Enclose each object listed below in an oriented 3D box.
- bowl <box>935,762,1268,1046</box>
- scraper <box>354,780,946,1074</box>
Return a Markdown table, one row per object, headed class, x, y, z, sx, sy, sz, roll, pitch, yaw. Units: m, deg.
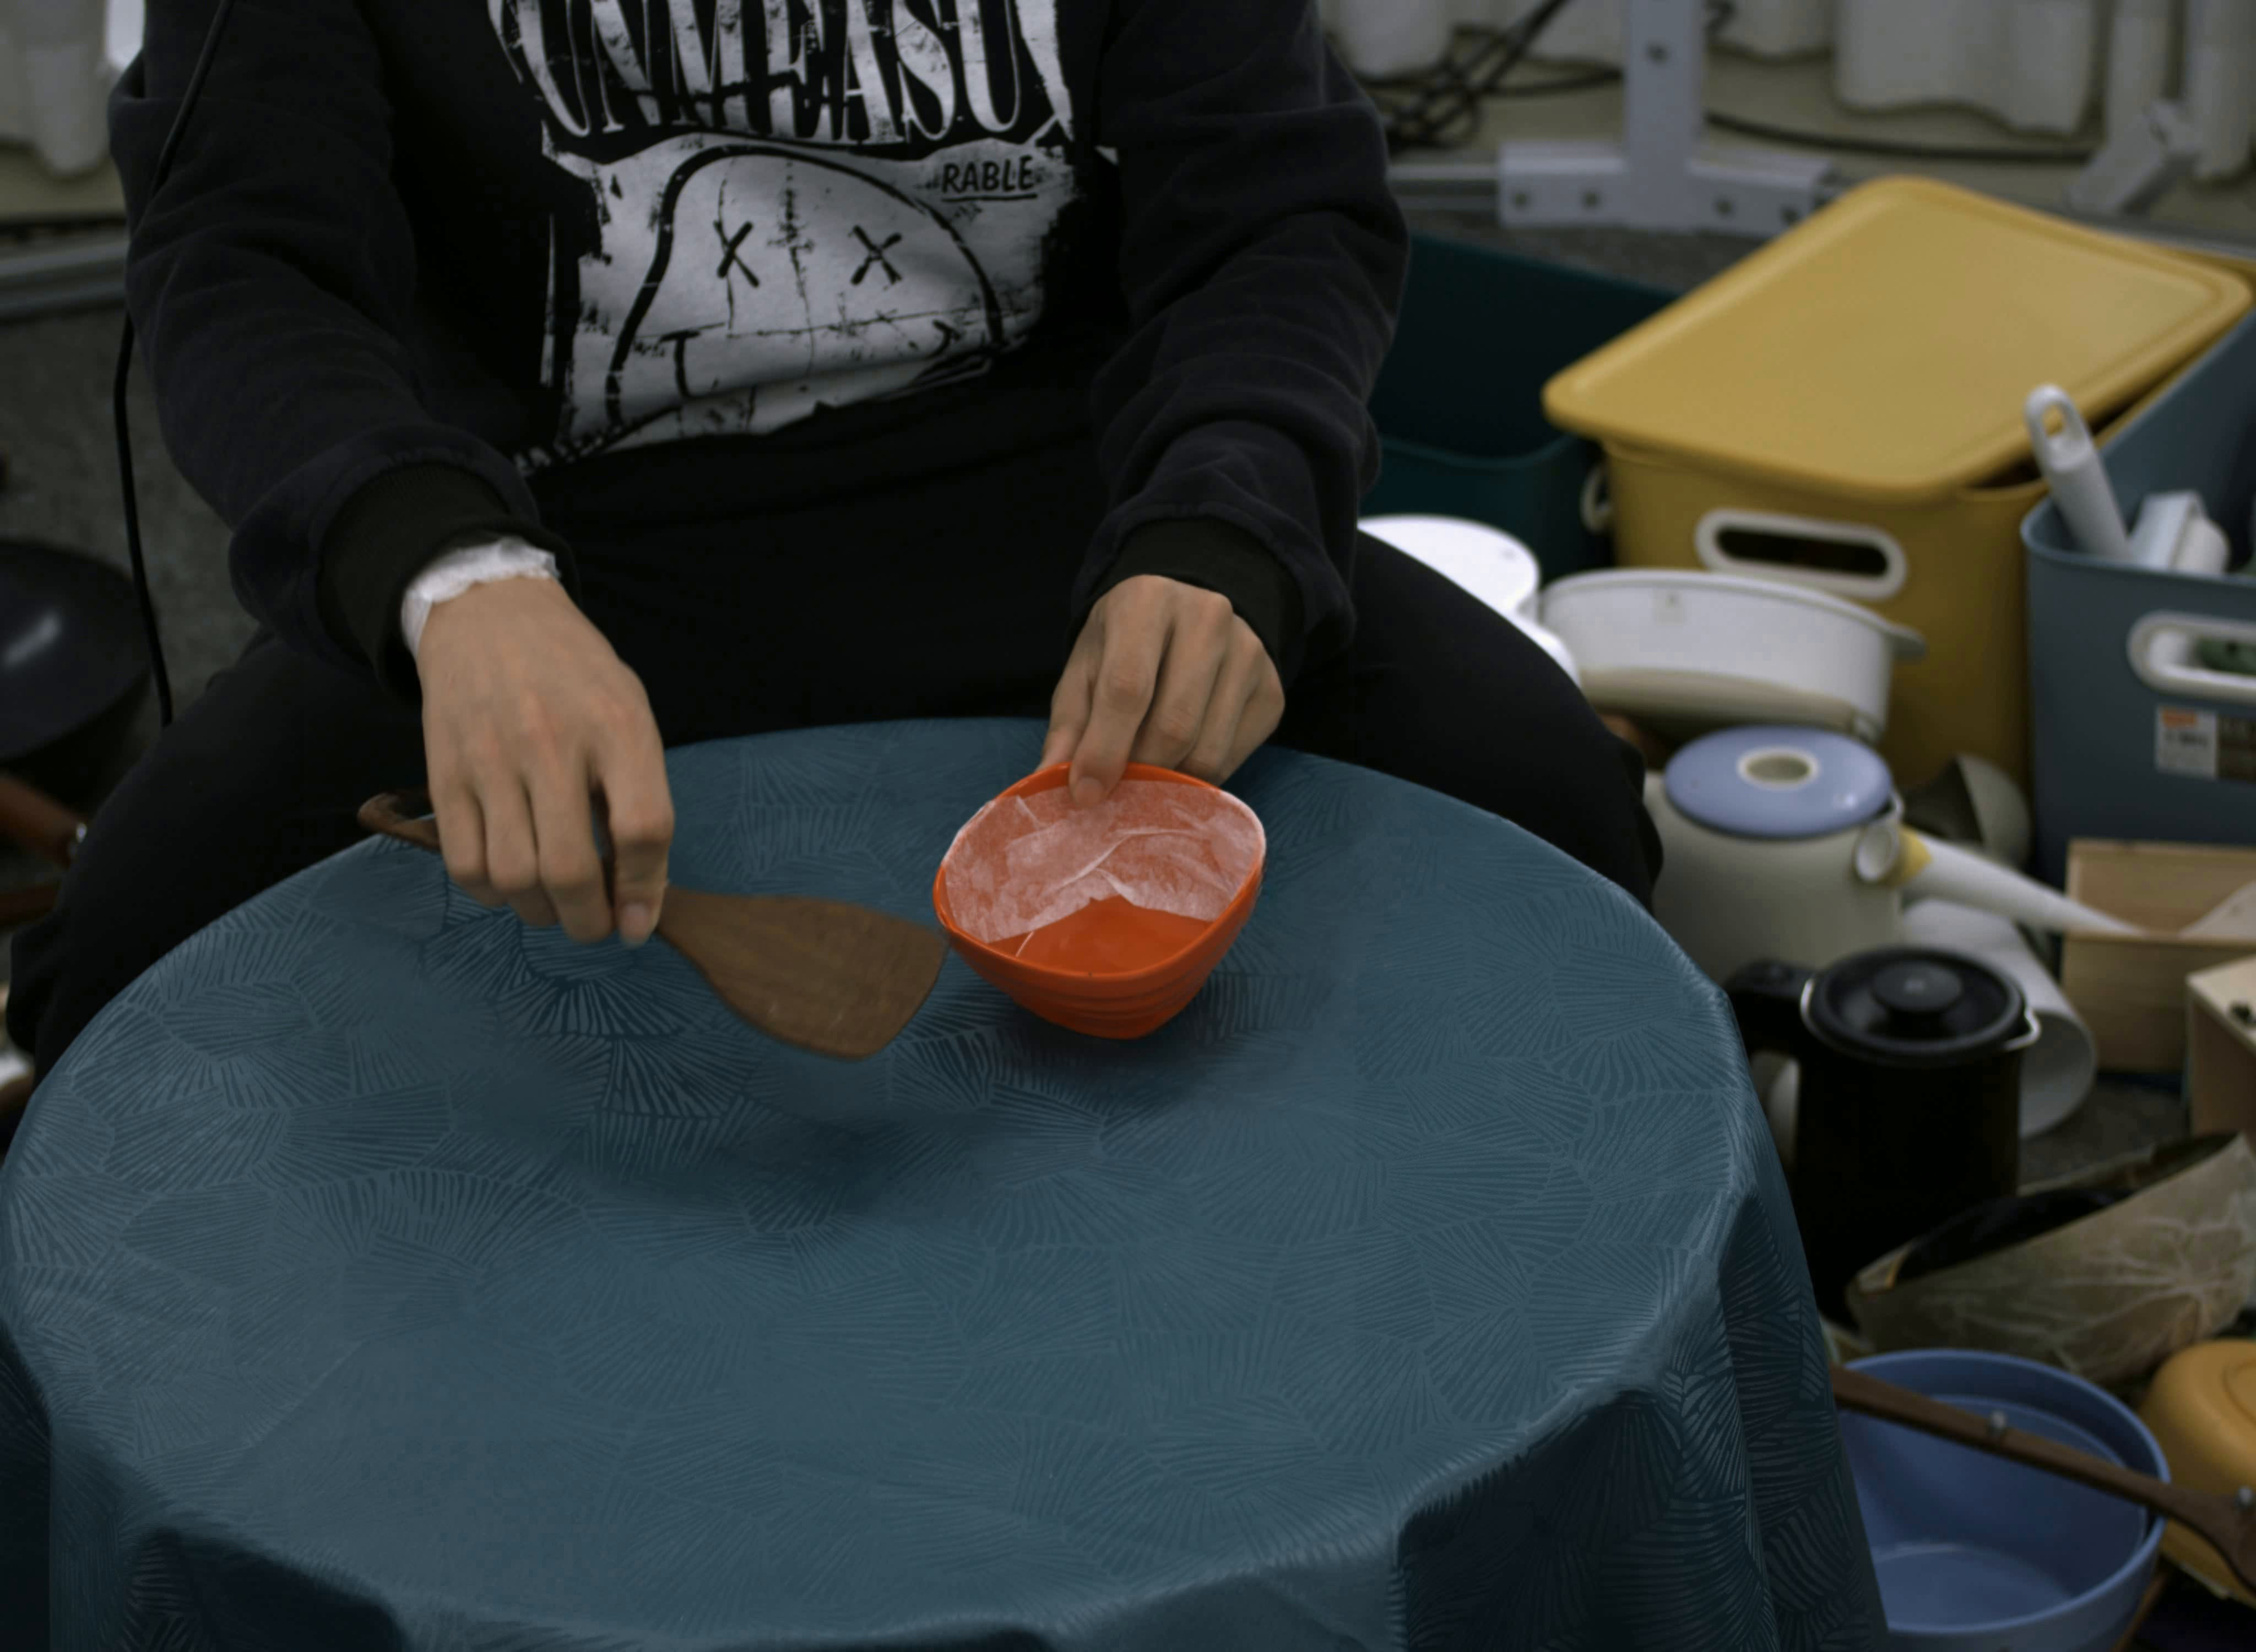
| class | x | y | z | sx | sy | sz | roll | pitch | yaw |
| --- | --- | --- | --- | --- | --- | --- | --- | --- | --- |
| bowl | -0.007 | 0.034 | 1.965 | 0.118 | 0.050 | 0.121 | -5 | 40 | 4 |
| scraper | -0.165 | 0.029 | 1.894 | 0.210 | 0.010 | 0.077 | 22 | 40 | 13 |
